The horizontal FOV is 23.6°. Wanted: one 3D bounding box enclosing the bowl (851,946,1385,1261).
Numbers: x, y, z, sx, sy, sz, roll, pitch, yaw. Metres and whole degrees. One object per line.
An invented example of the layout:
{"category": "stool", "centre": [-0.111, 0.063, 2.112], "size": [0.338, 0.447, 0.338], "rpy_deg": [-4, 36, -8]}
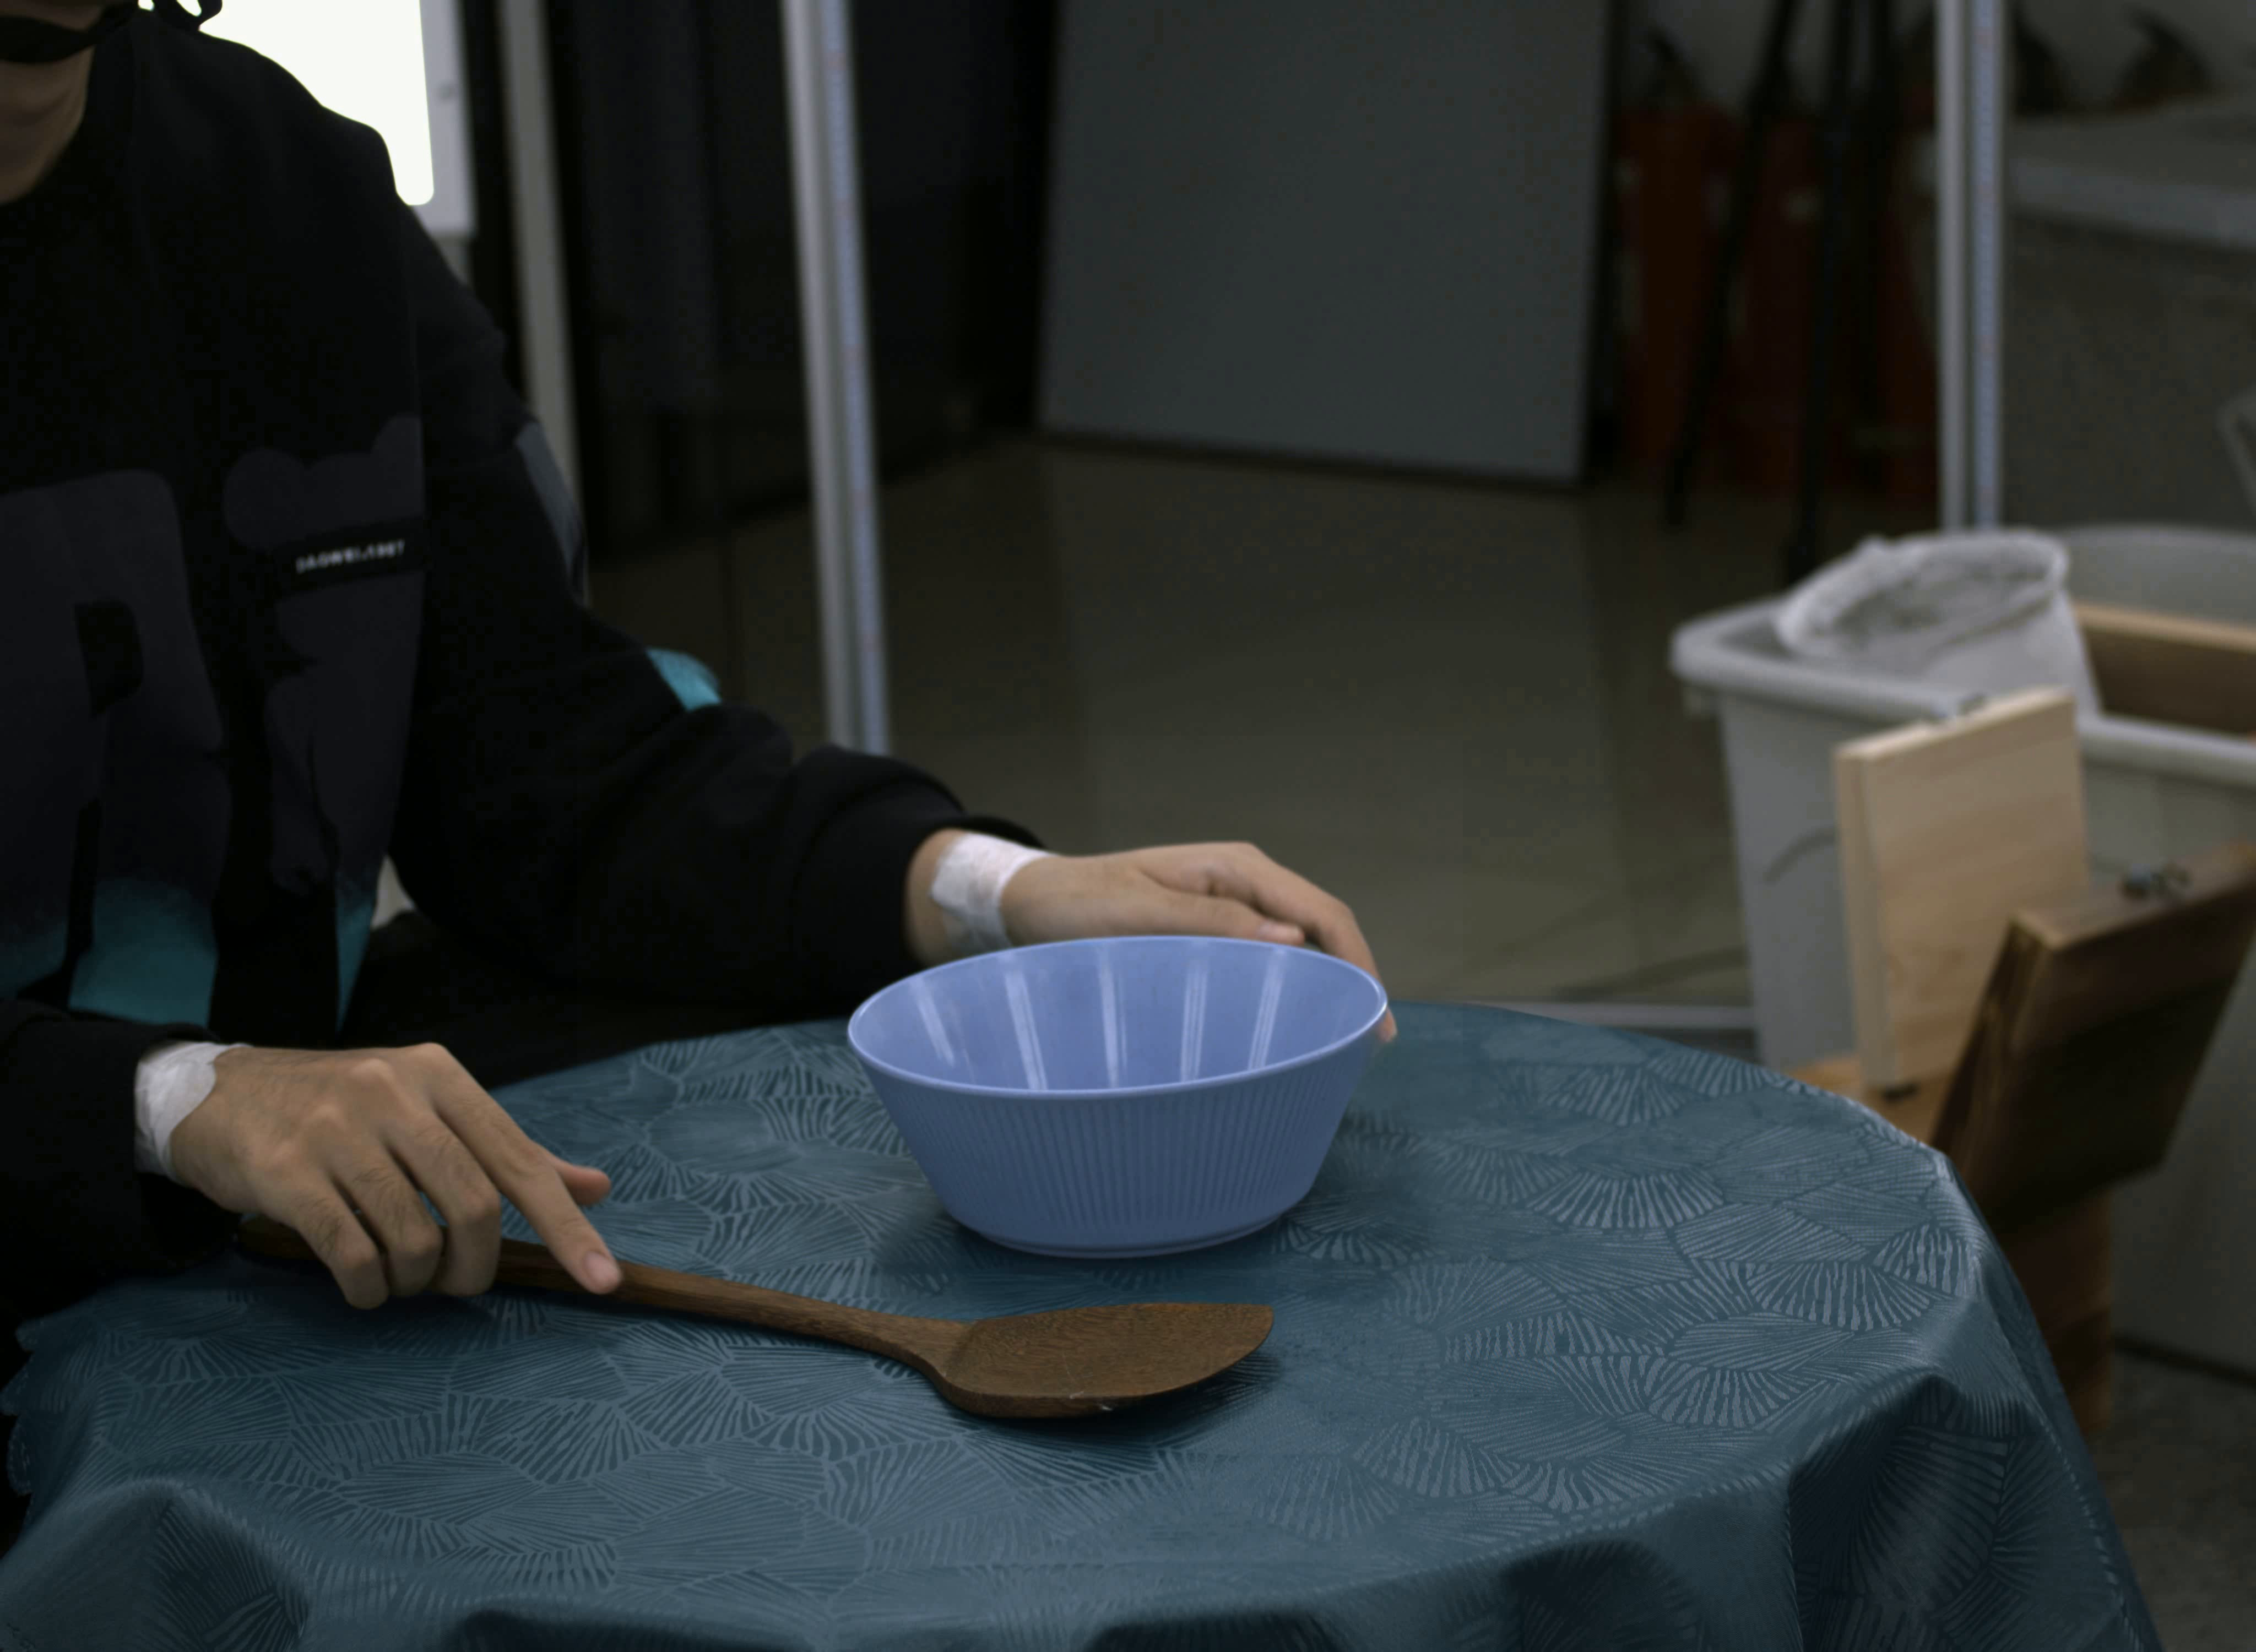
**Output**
{"category": "bowl", "centre": [-0.001, 0.092, 1.746], "size": [0.174, 0.071, 0.176], "rpy_deg": [-5, 12, 0]}

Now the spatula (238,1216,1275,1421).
{"category": "spatula", "centre": [-0.130, 0.148, 1.674], "size": [0.388, 0.016, 0.094], "rpy_deg": [5, 16, 34]}
